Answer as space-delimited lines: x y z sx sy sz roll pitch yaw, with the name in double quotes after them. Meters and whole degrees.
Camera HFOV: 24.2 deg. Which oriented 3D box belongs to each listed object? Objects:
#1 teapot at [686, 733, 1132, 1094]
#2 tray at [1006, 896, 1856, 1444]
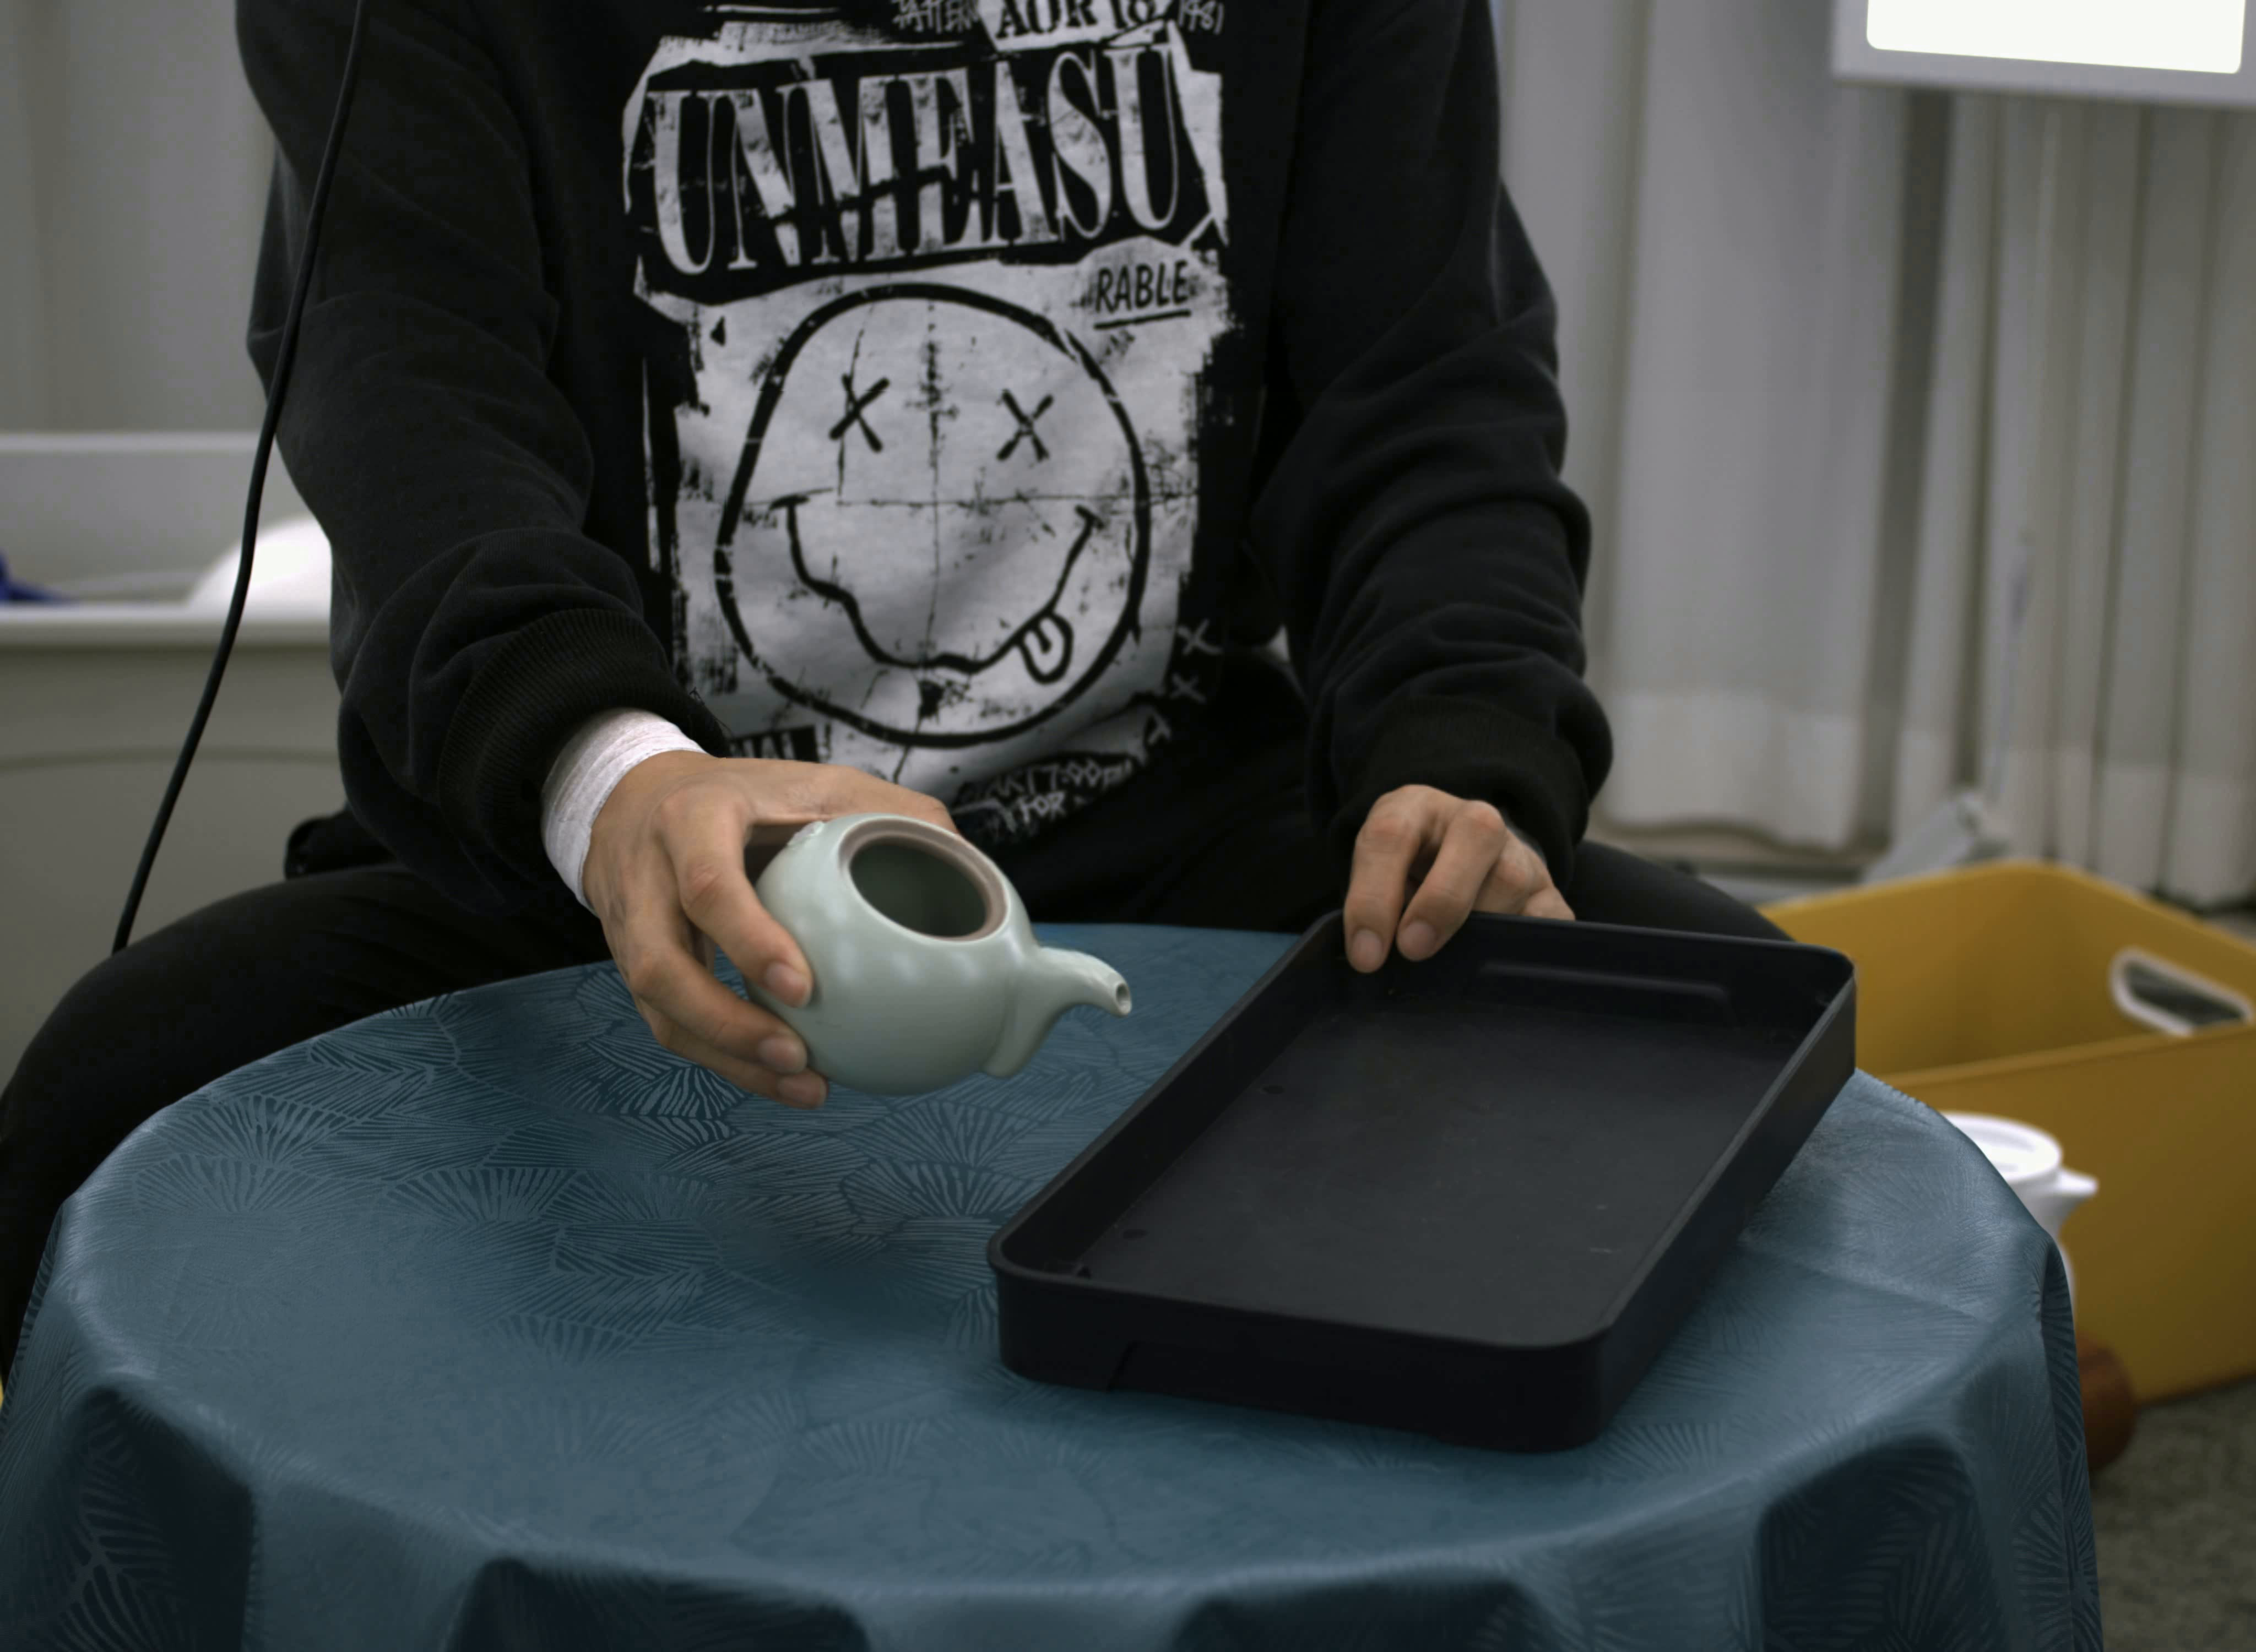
-0.072 0.036 1.553 0.143 0.075 0.088 35 33 4 "teapot"
0.099 0.095 1.578 0.182 0.037 0.318 5 21 19 "tray"
